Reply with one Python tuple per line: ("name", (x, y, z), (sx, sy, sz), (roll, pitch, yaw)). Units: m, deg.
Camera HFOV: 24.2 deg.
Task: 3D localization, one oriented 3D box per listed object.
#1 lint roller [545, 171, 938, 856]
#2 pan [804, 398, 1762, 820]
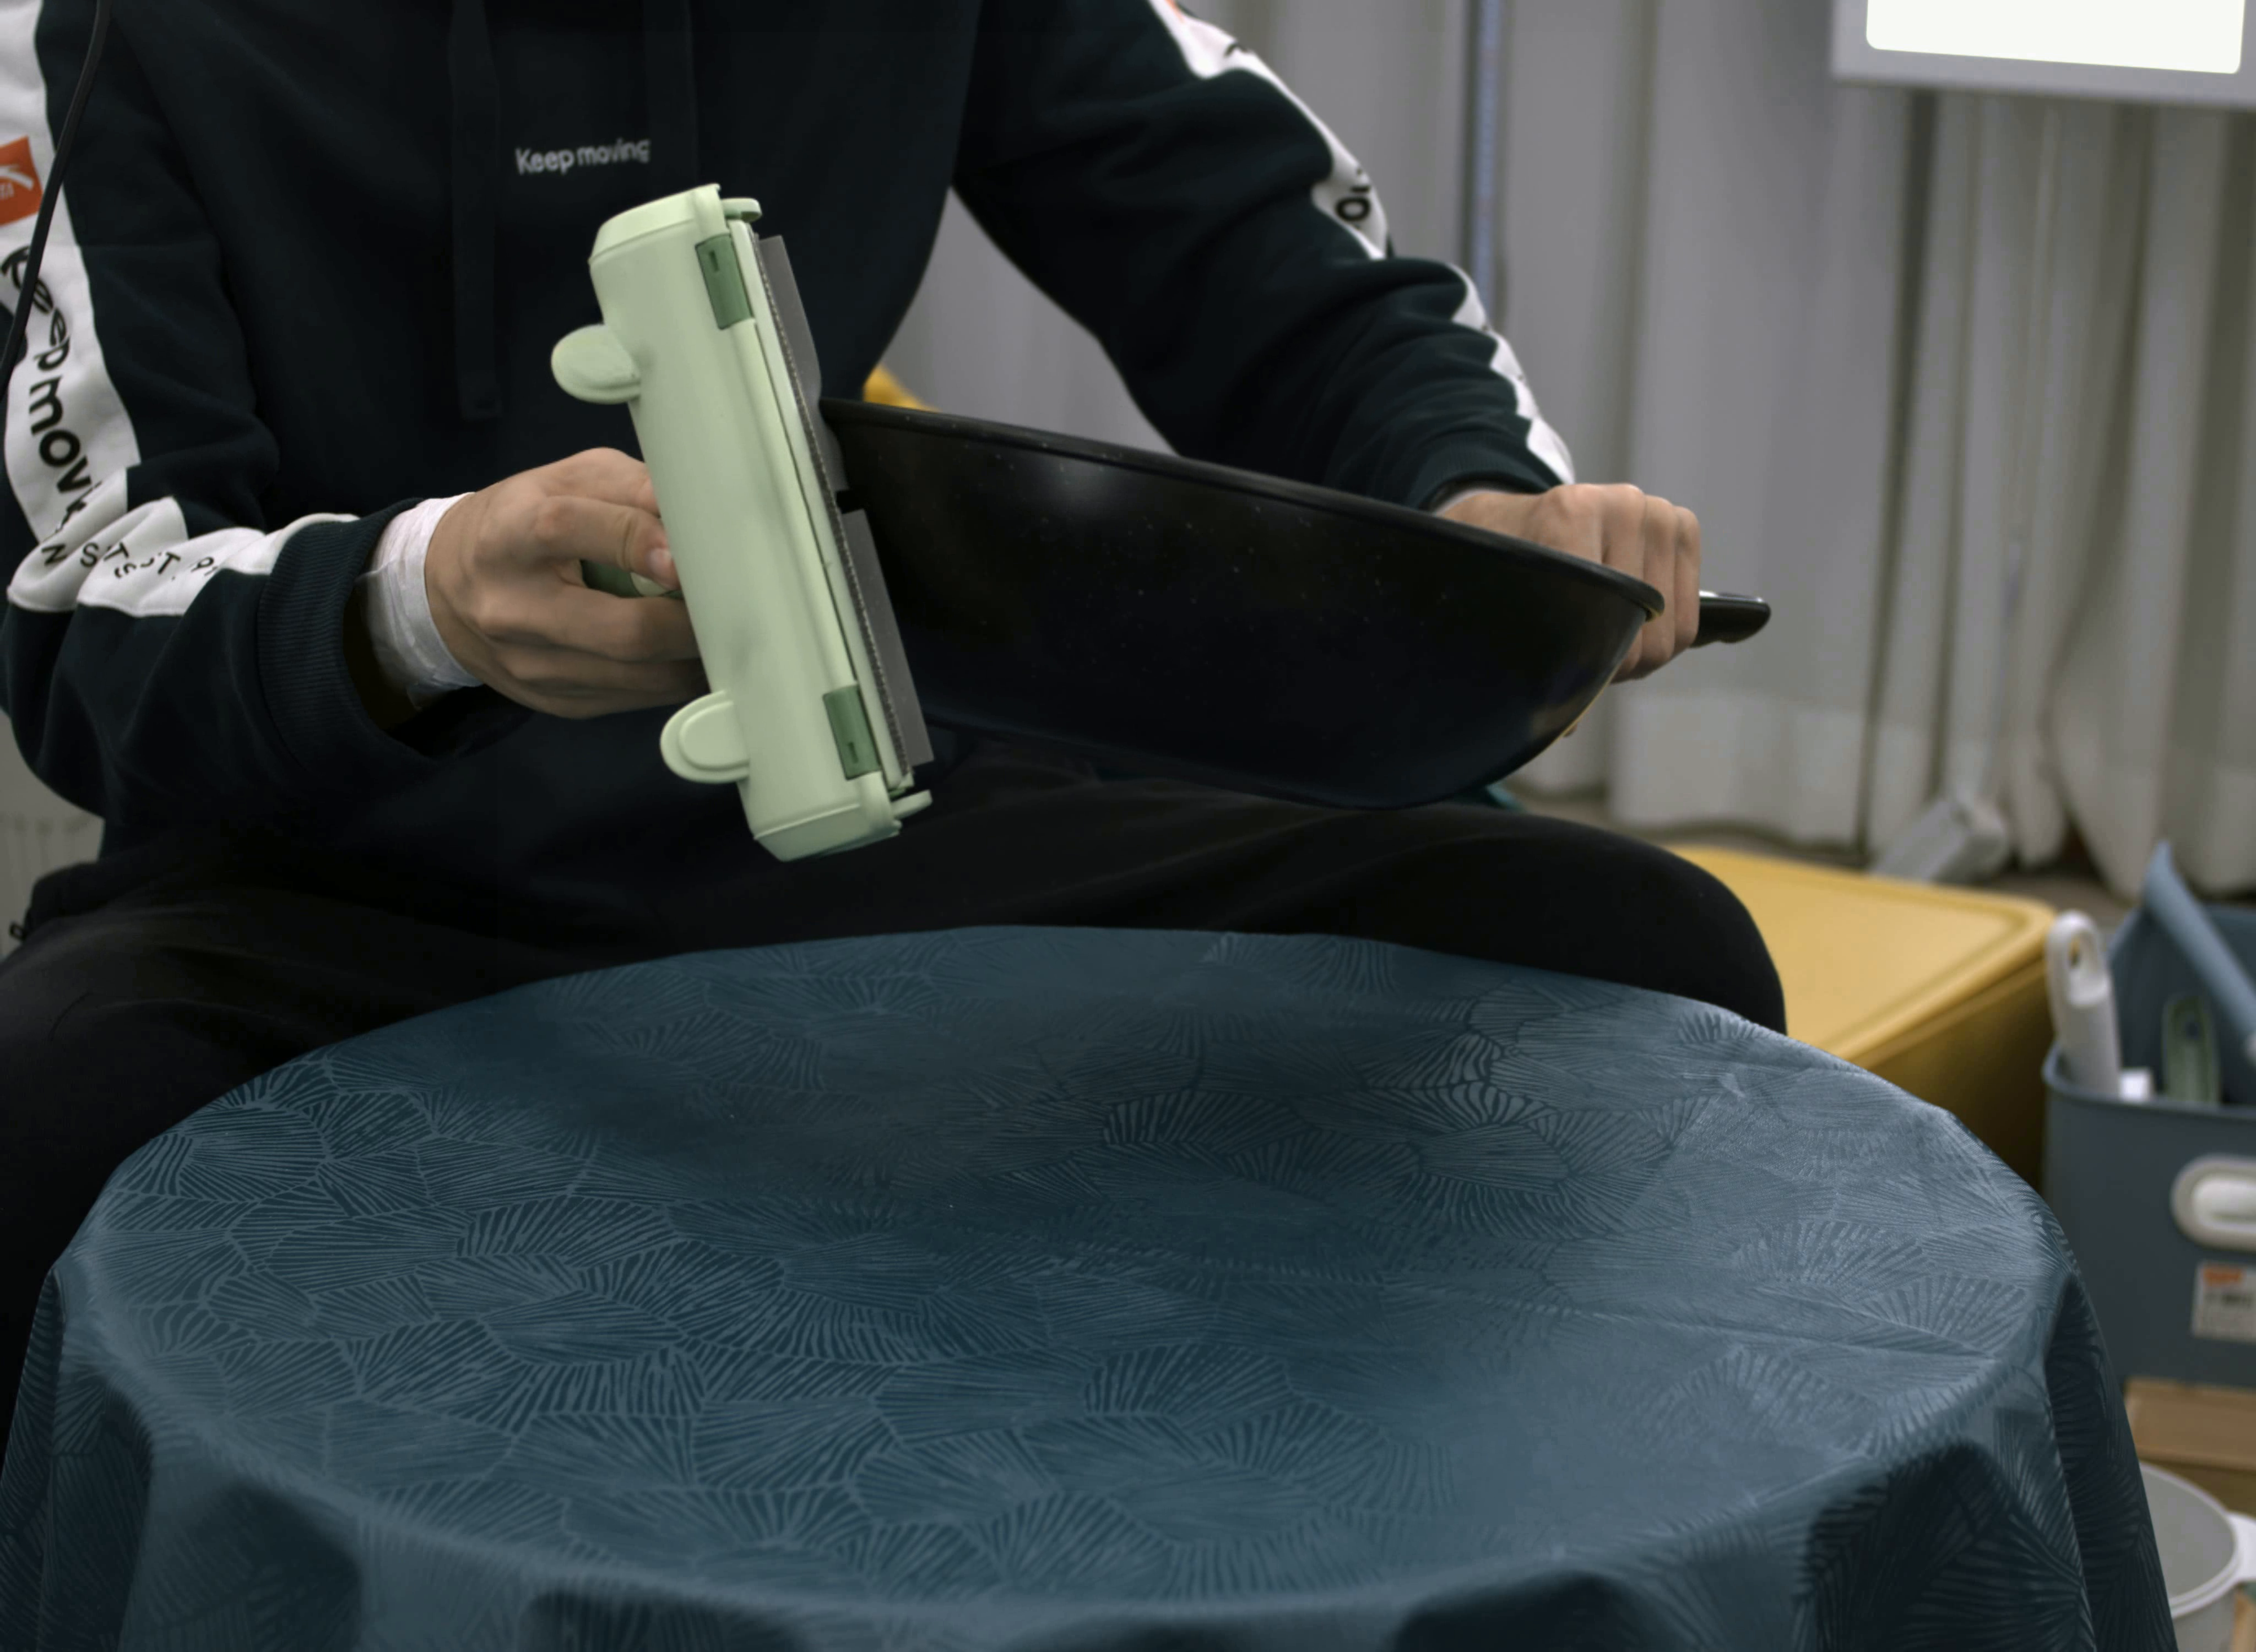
("lint roller", (-0.144, -0.077, 1.572), (0.082, 0.199, 0.182), (-16, -2, -38))
("pan", (0.059, -0.059, 1.710), (0.306, 0.112, 0.482), (11, -1, 39))
